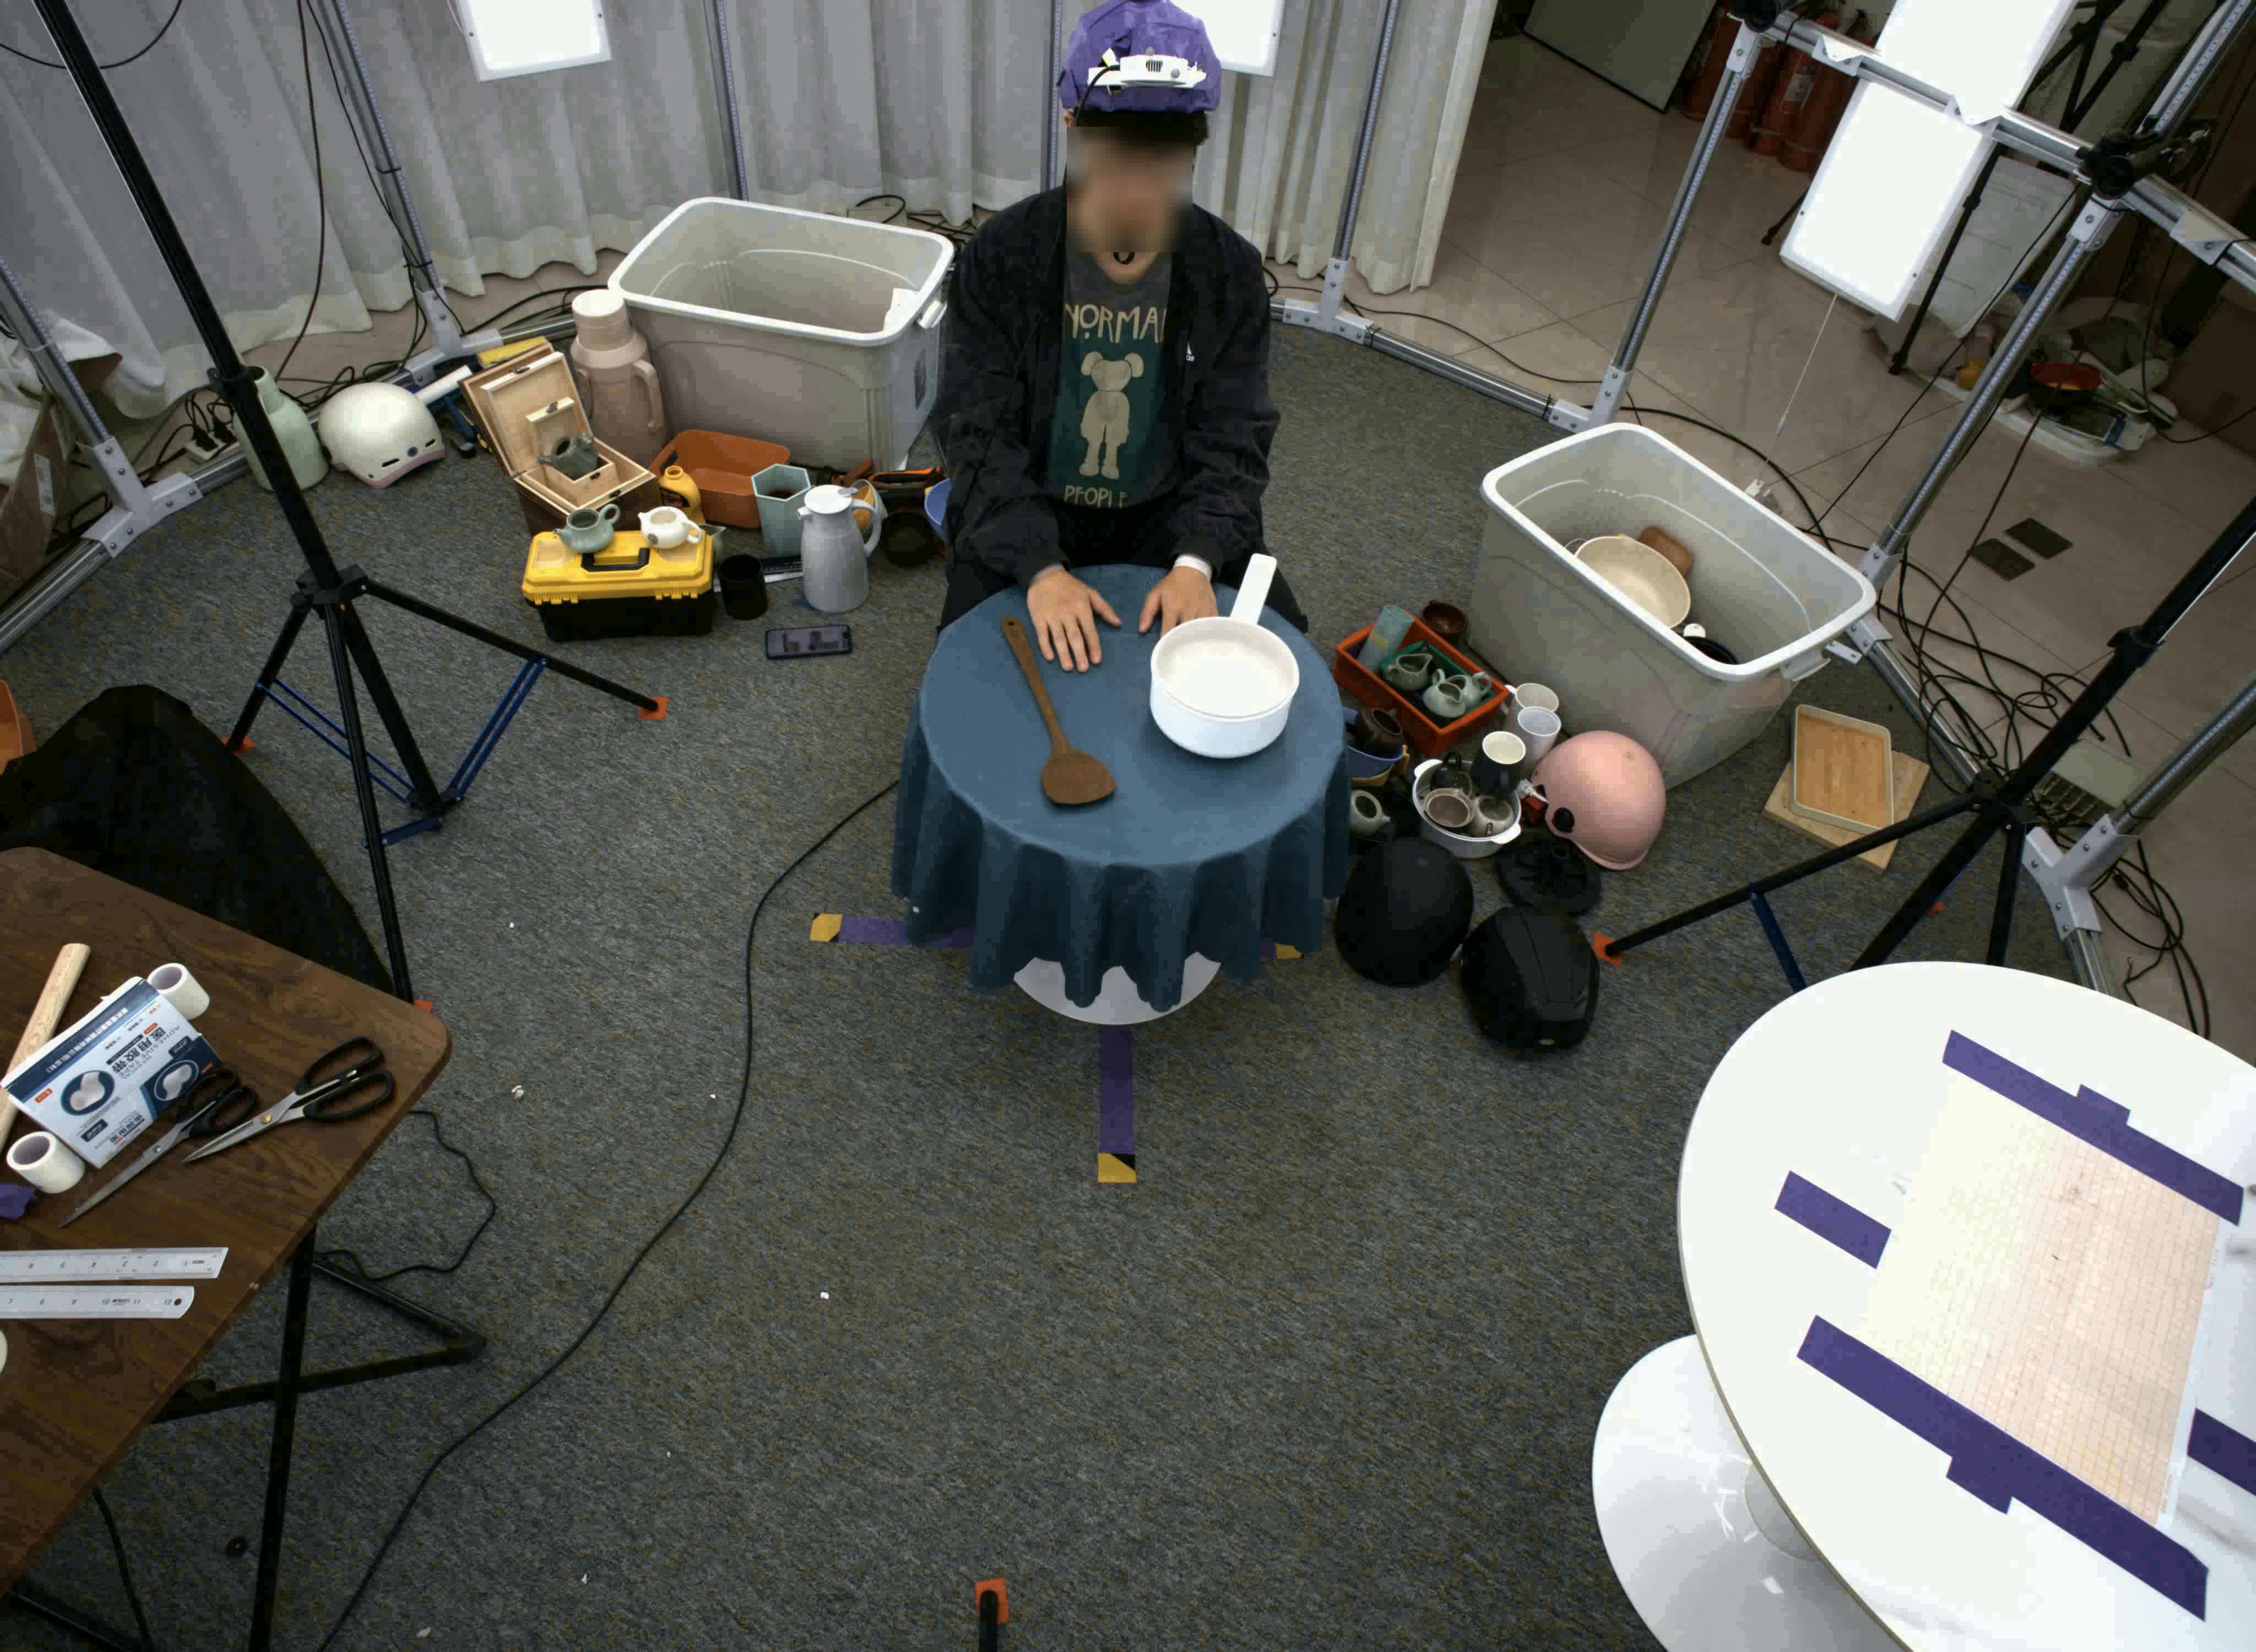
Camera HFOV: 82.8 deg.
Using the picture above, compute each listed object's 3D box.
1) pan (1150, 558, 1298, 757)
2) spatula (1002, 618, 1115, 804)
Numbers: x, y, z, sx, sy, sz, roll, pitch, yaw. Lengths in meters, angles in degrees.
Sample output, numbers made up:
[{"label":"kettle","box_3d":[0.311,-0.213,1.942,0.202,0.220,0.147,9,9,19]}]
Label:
[{"label":"pan","box_3d":[0.150,-0.241,1.825,0.202,0.099,0.362,14,47,9]},{"label":"spatula","box_3d":[-0.117,-0.171,1.799,0.096,0.015,0.395,-12,50,-14]}]
